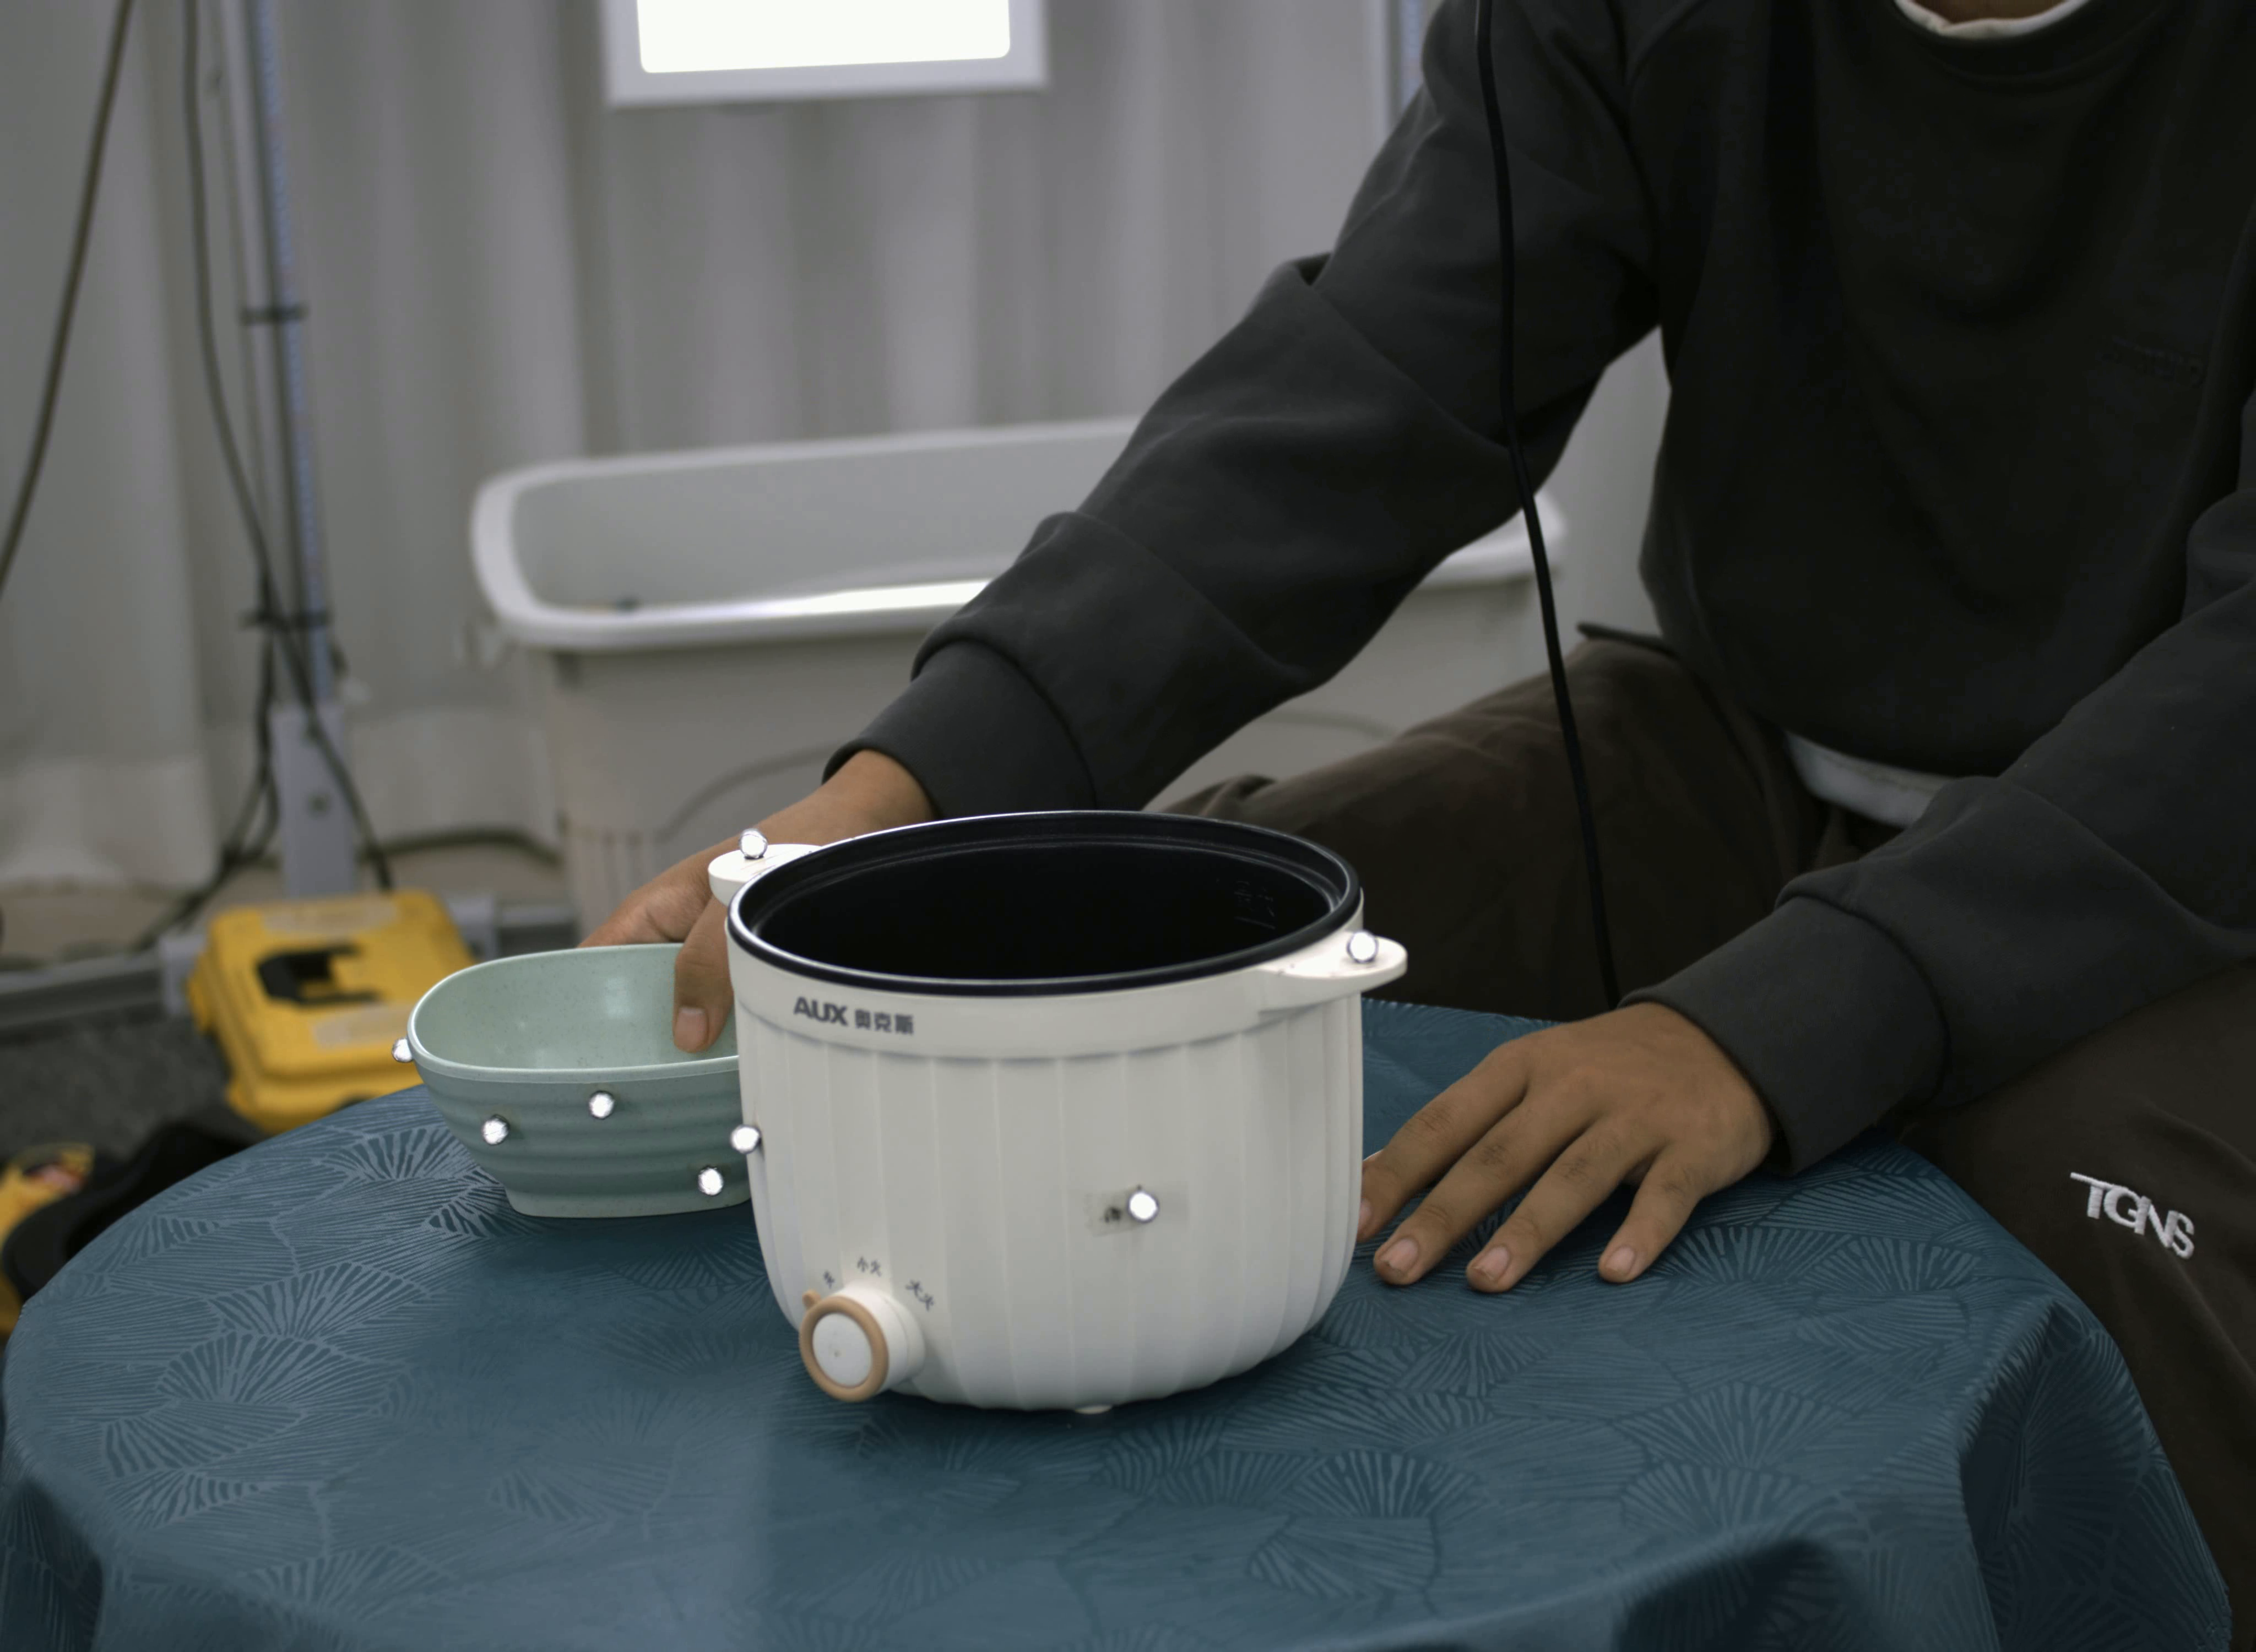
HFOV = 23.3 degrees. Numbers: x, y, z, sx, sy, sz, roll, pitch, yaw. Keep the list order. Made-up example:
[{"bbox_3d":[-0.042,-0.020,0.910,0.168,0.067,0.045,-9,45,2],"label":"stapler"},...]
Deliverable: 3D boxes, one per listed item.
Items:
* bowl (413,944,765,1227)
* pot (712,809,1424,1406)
[{"bbox_3d":[-0.156,0.086,1.748,0.151,0.058,0.152,-3,16,1],"label":"bowl"},{"bbox_3d":[-0.021,0.083,1.568,0.241,0.142,0.190,6,13,35],"label":"pot"}]
